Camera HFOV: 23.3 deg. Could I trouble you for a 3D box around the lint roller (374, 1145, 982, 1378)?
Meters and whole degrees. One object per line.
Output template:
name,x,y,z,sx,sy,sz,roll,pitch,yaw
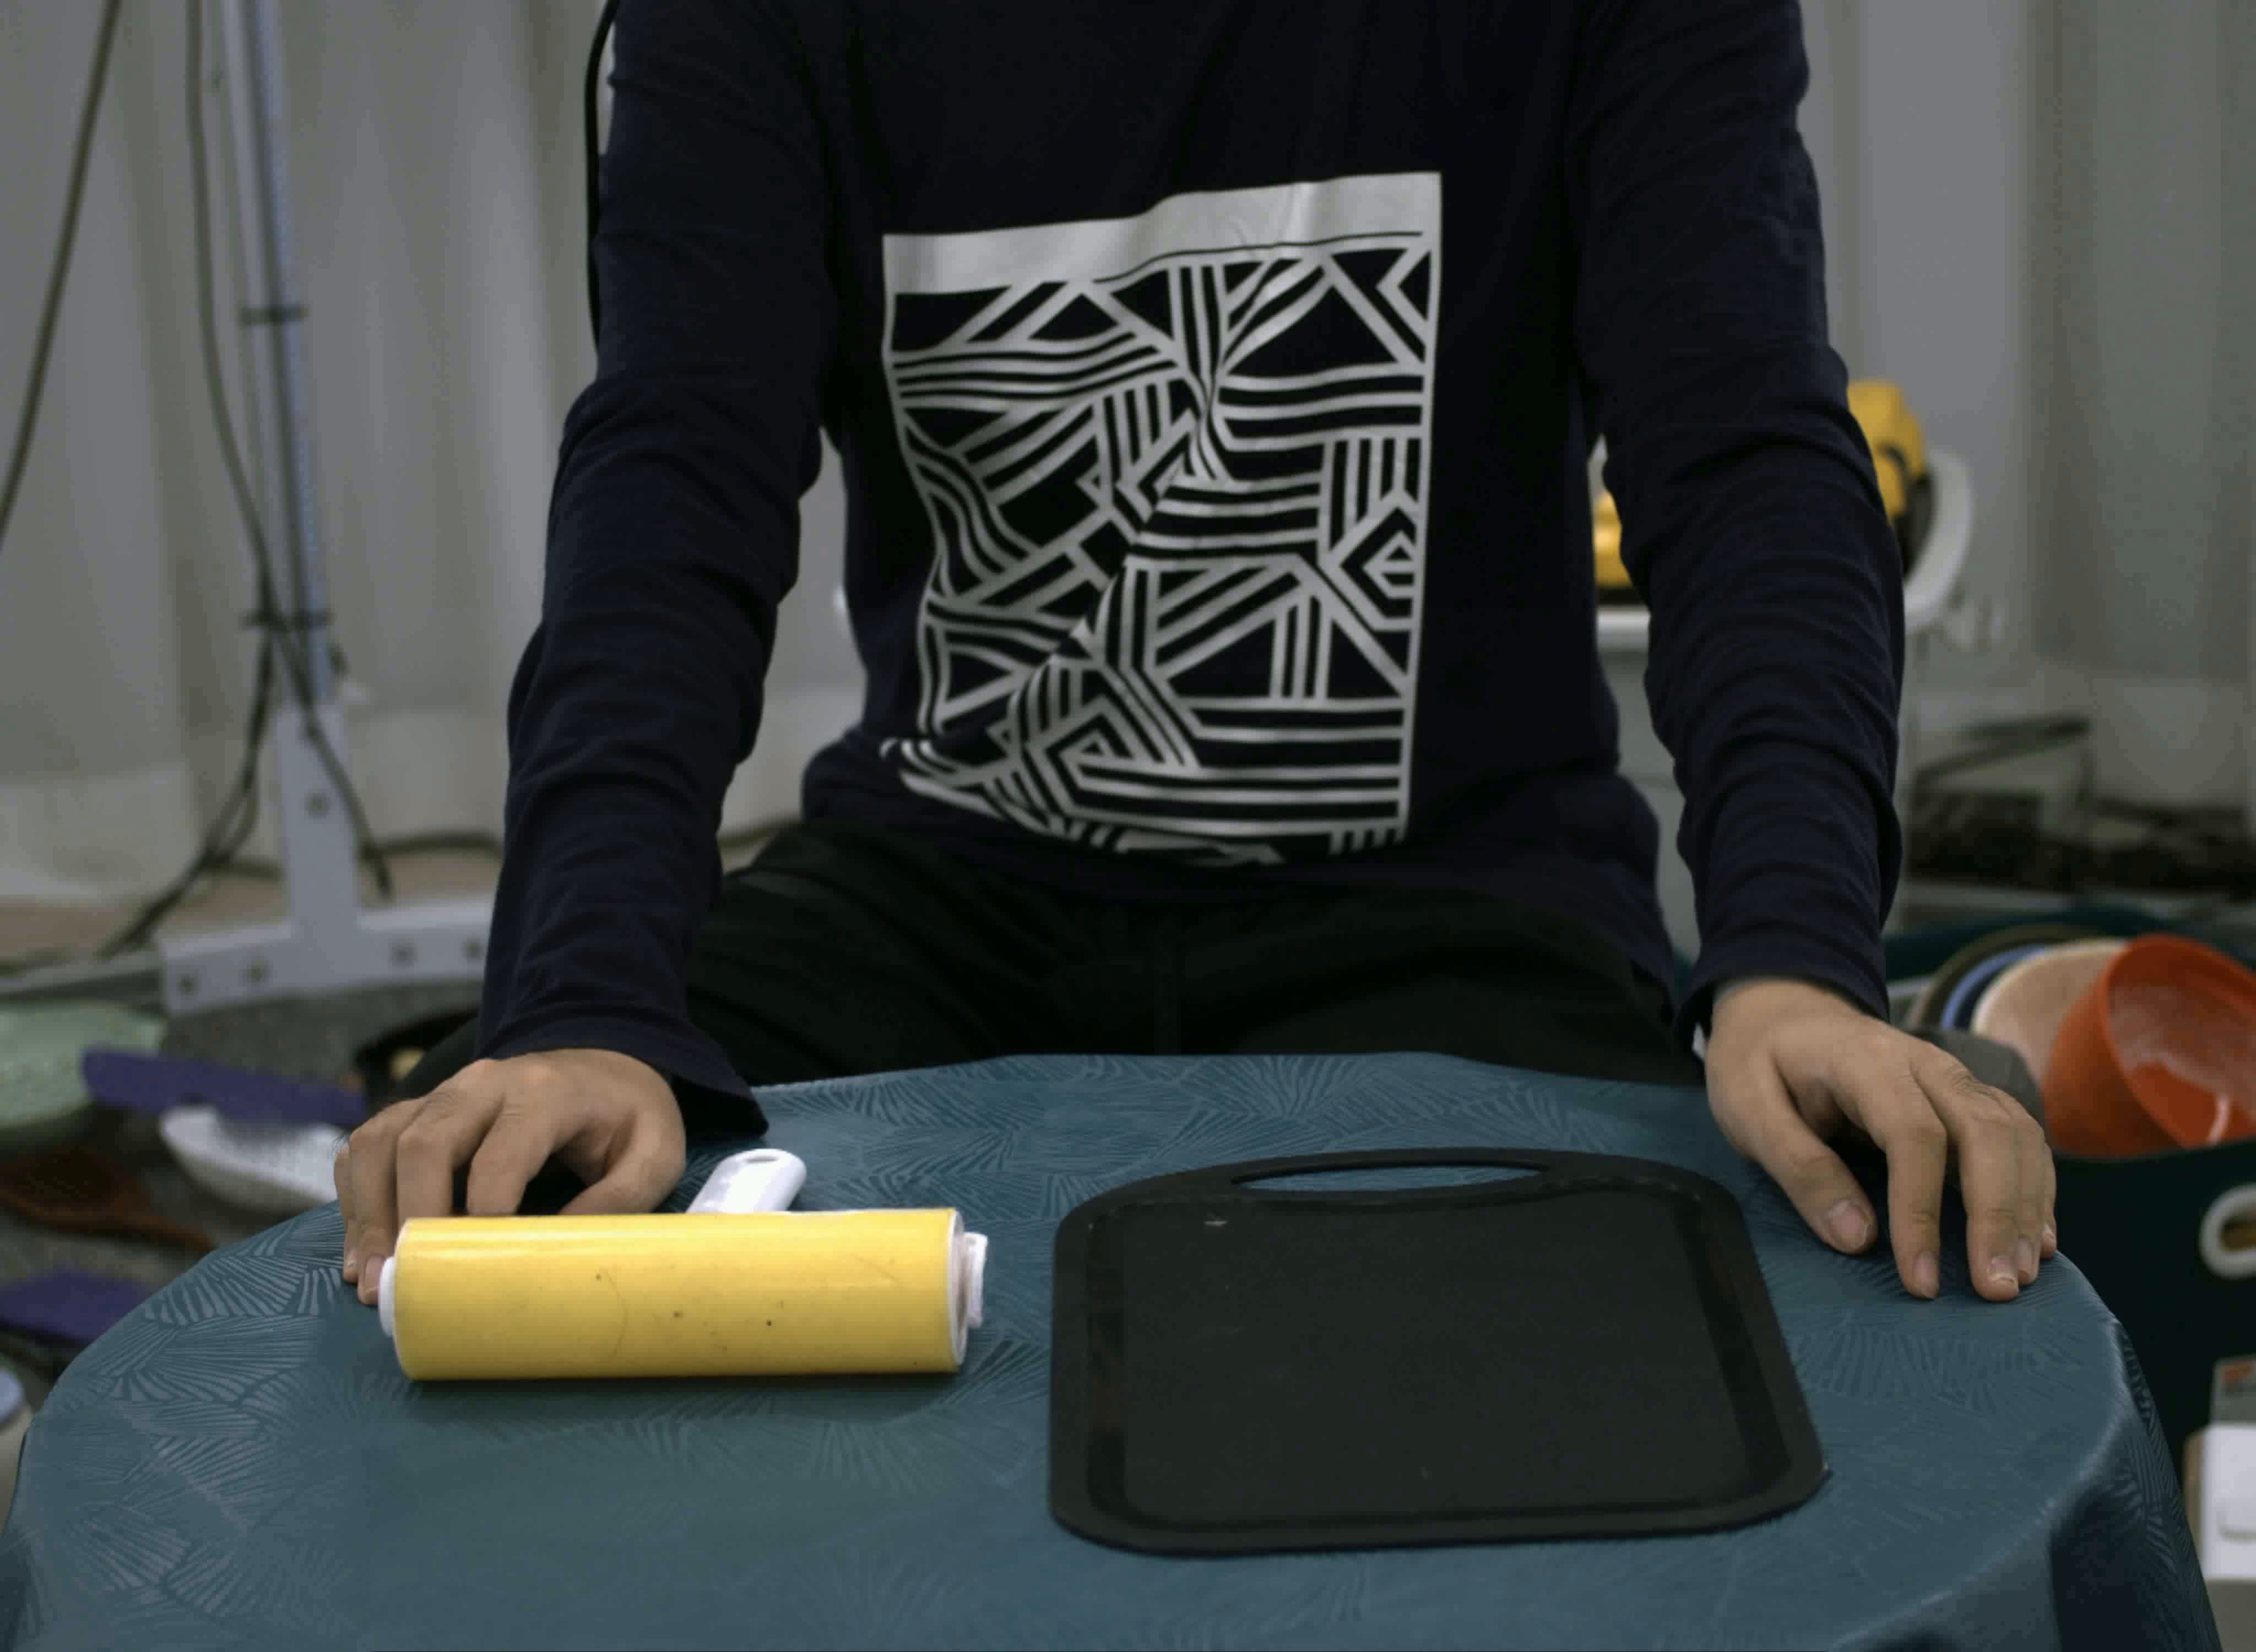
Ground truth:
lint roller,-0.126,0.115,1.642,0.174,0.051,0.193,-1,18,3

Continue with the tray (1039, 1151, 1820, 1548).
tray,0.081,0.144,1.580,0.210,0.010,0.327,-2,14,1
